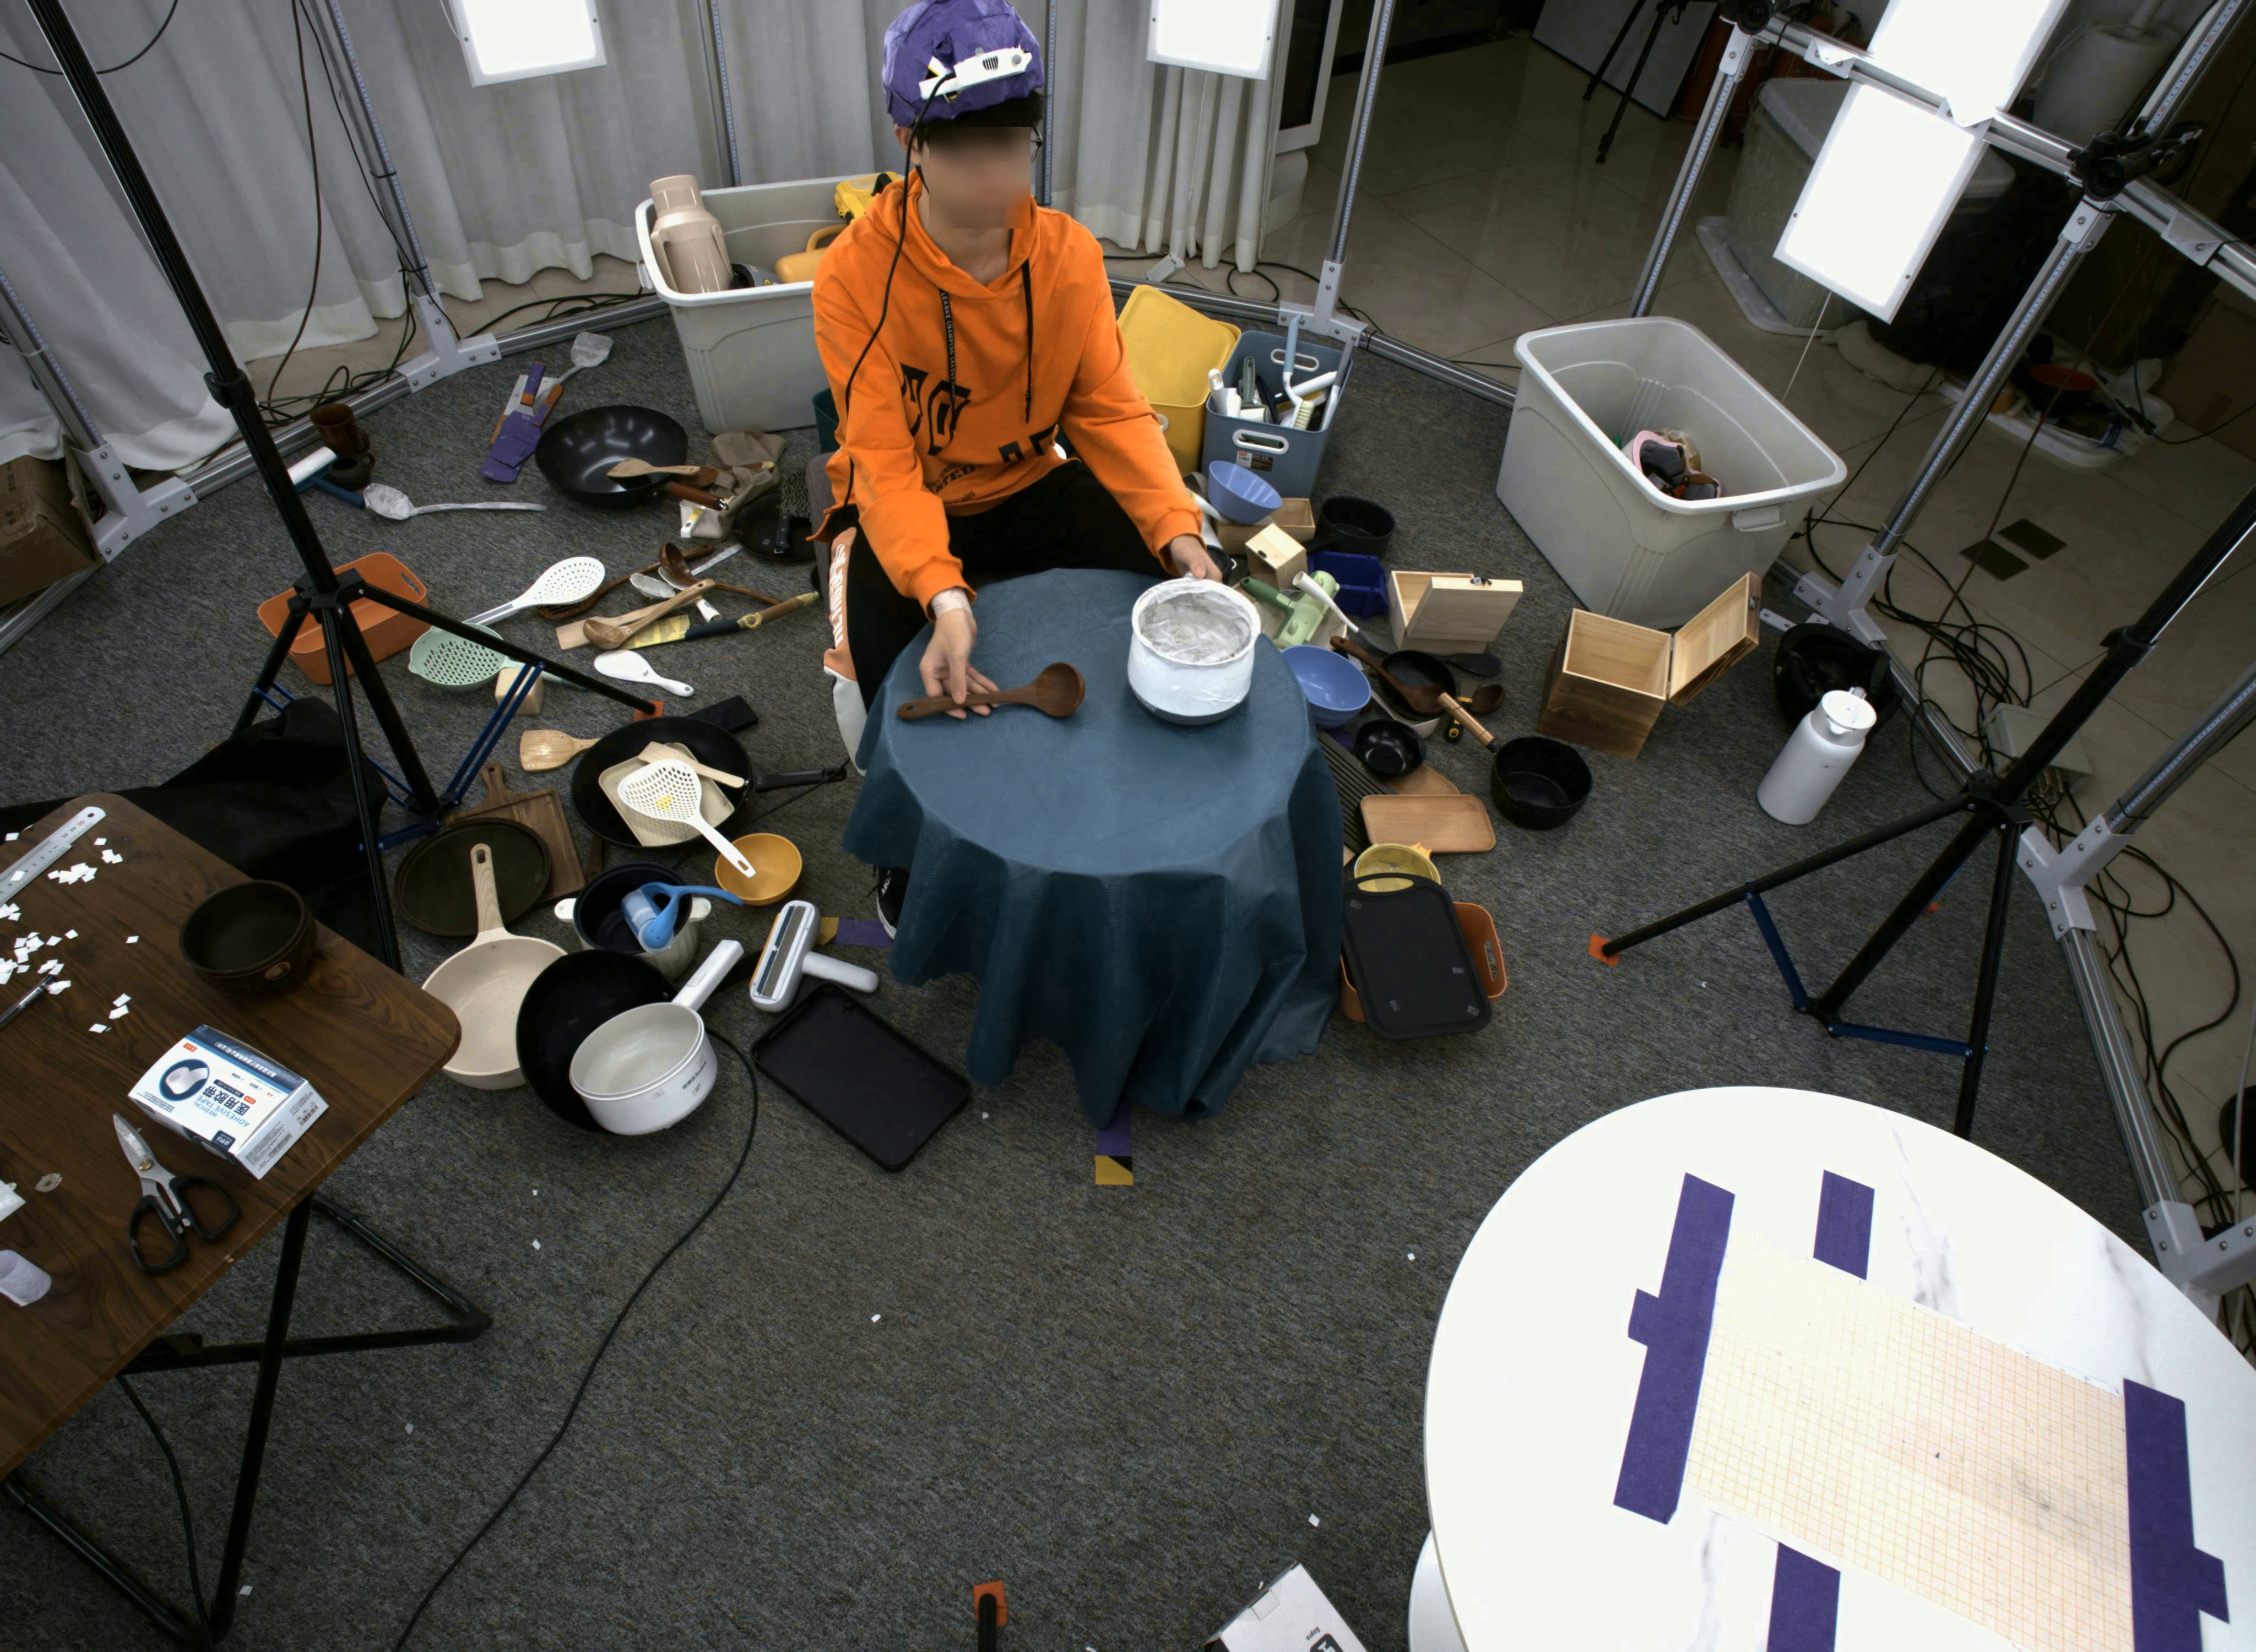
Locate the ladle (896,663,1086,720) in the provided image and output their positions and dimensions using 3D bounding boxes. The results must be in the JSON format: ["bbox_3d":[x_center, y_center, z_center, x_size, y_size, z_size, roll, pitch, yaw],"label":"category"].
[{"bbox_3d":[-0.188,-0.177,1.771,0.260,0.064,0.077,-7,77,-11],"label":"ladle"}]

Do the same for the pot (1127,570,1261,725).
[{"bbox_3d":[0.089,-0.261,1.813,0.178,0.133,0.239,2,49,-3],"label":"pot"}]
